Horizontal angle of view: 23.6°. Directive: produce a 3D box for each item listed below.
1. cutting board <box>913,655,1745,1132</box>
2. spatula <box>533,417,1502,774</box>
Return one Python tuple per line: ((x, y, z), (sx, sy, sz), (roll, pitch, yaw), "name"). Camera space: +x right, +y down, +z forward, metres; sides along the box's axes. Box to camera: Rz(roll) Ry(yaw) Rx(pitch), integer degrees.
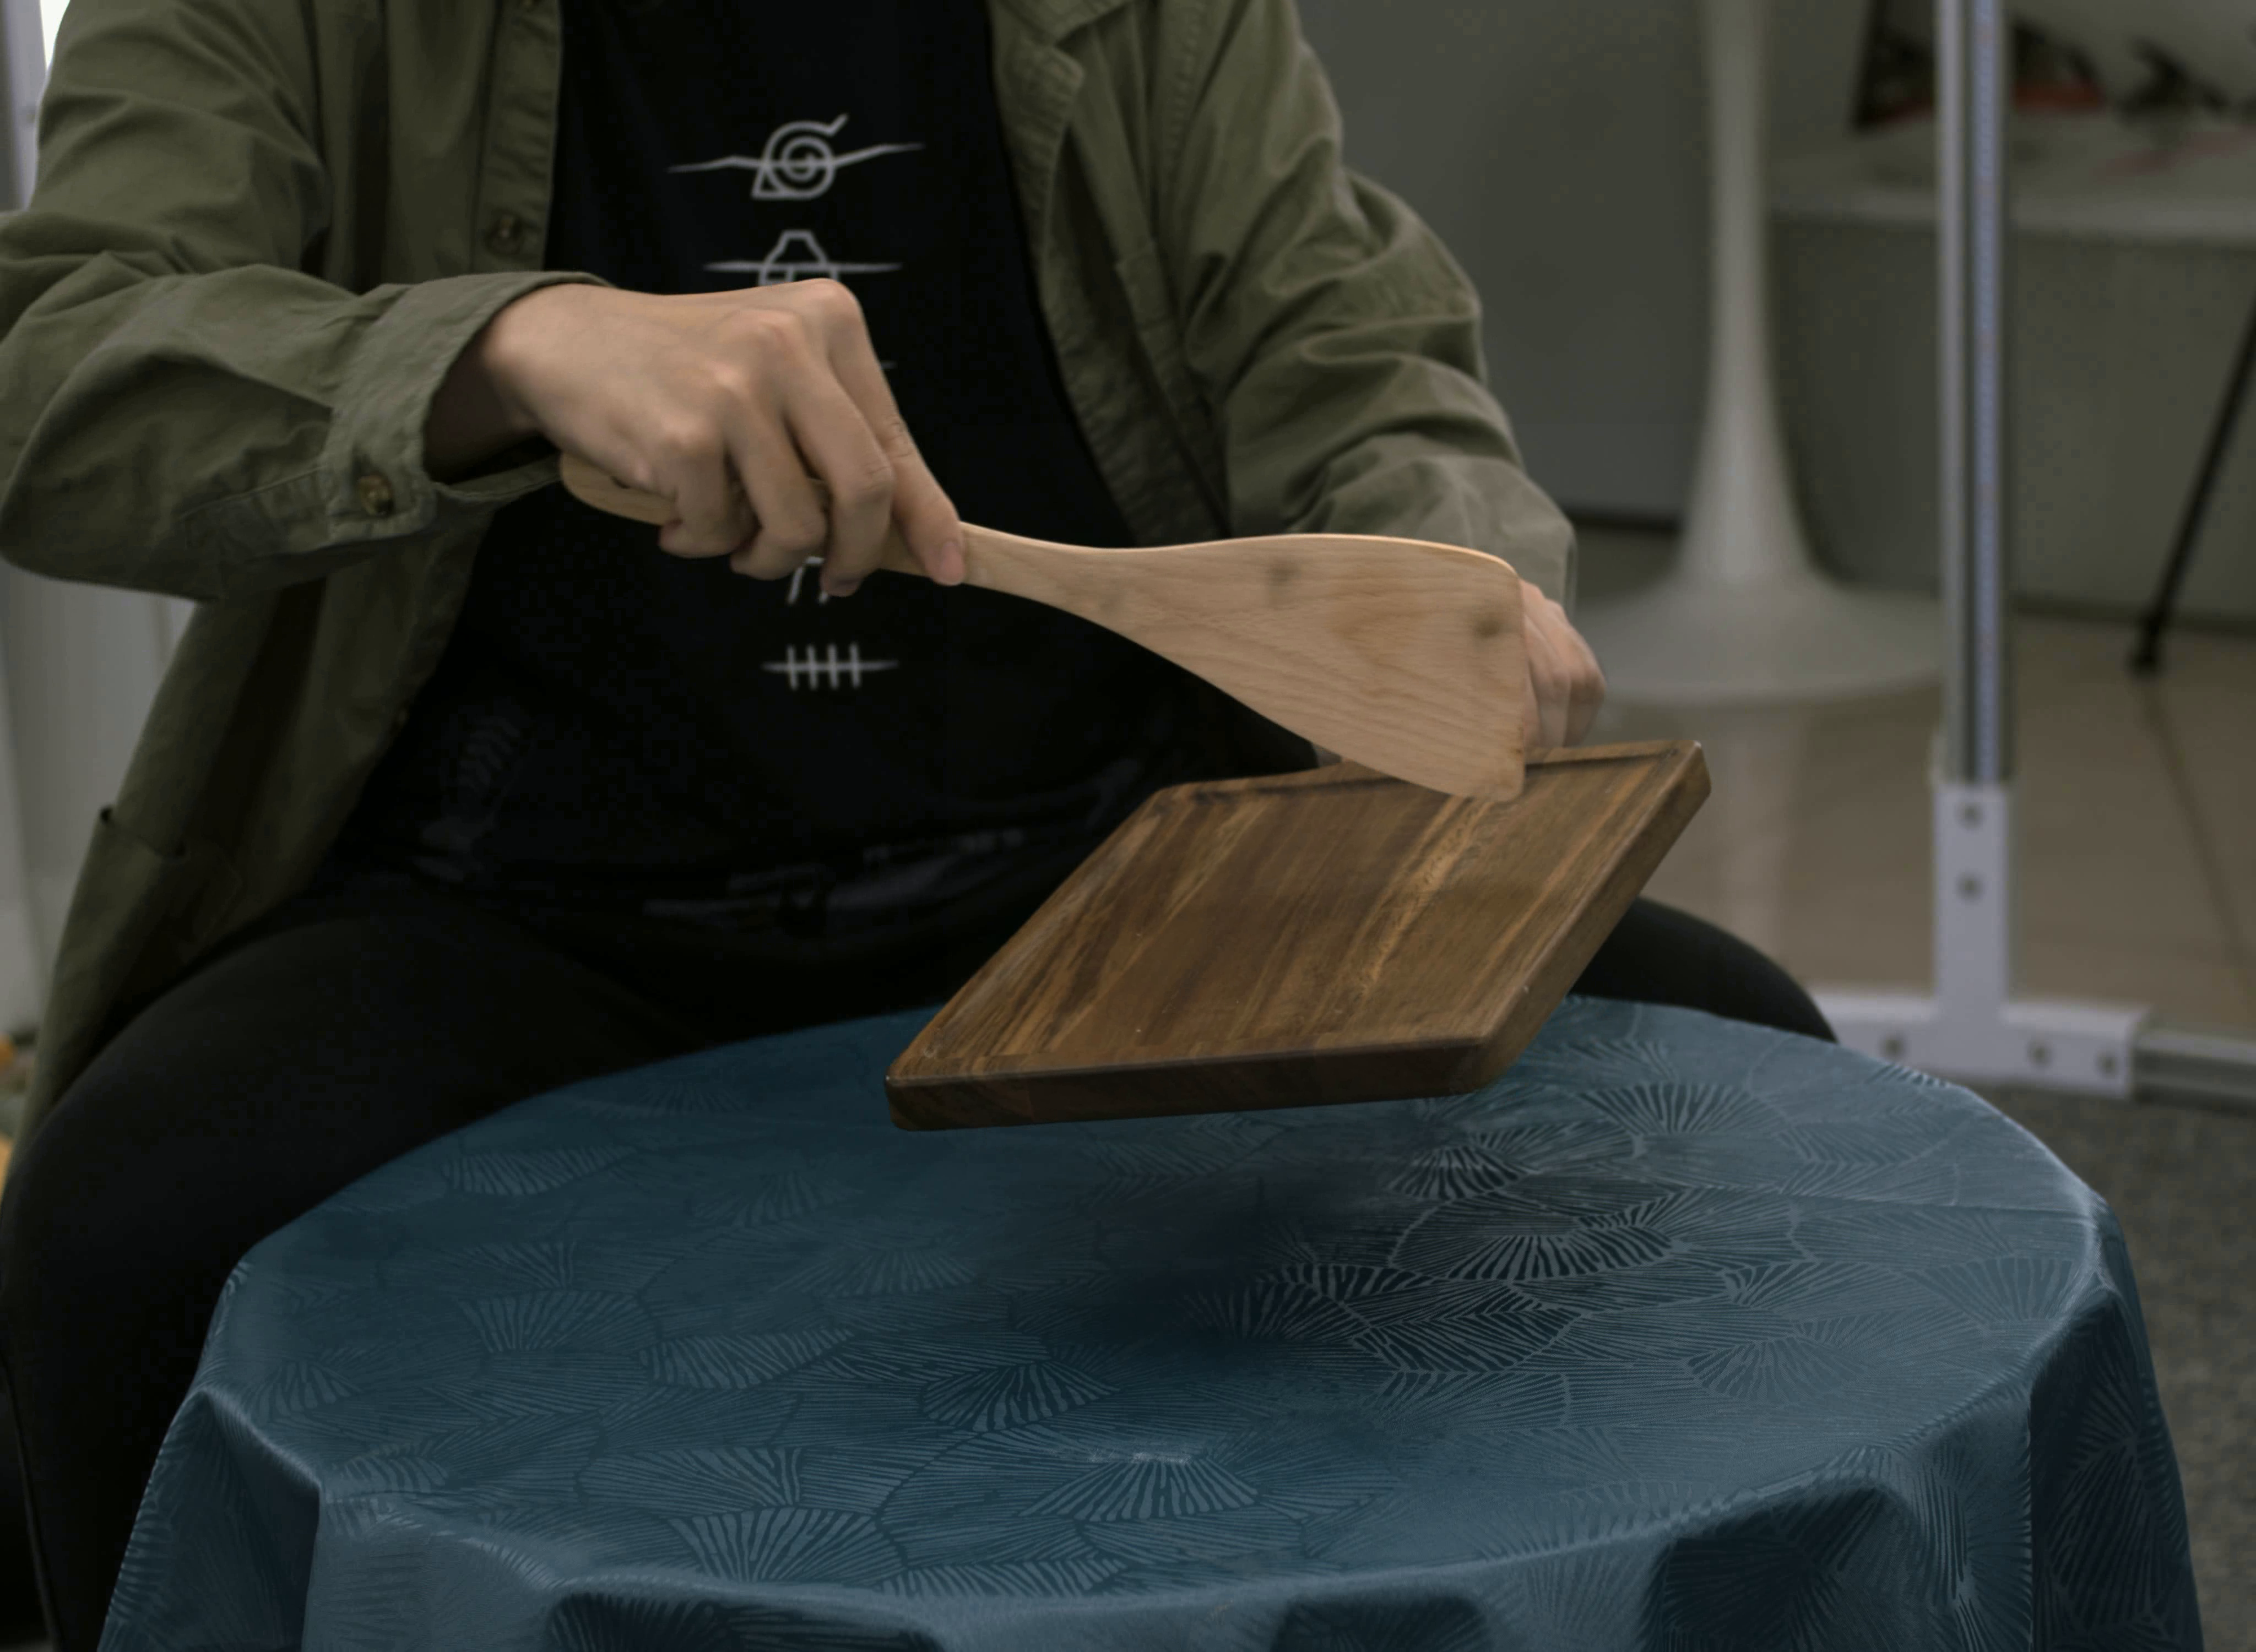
((0.084, 0.013, 1.701), (0.201, 0.023, 0.349), (-6, 18, 25), "cutting board")
((-0.035, -0.086, 1.687), (0.326, 0.081, 0.016), (12, 20, 14), "spatula")
